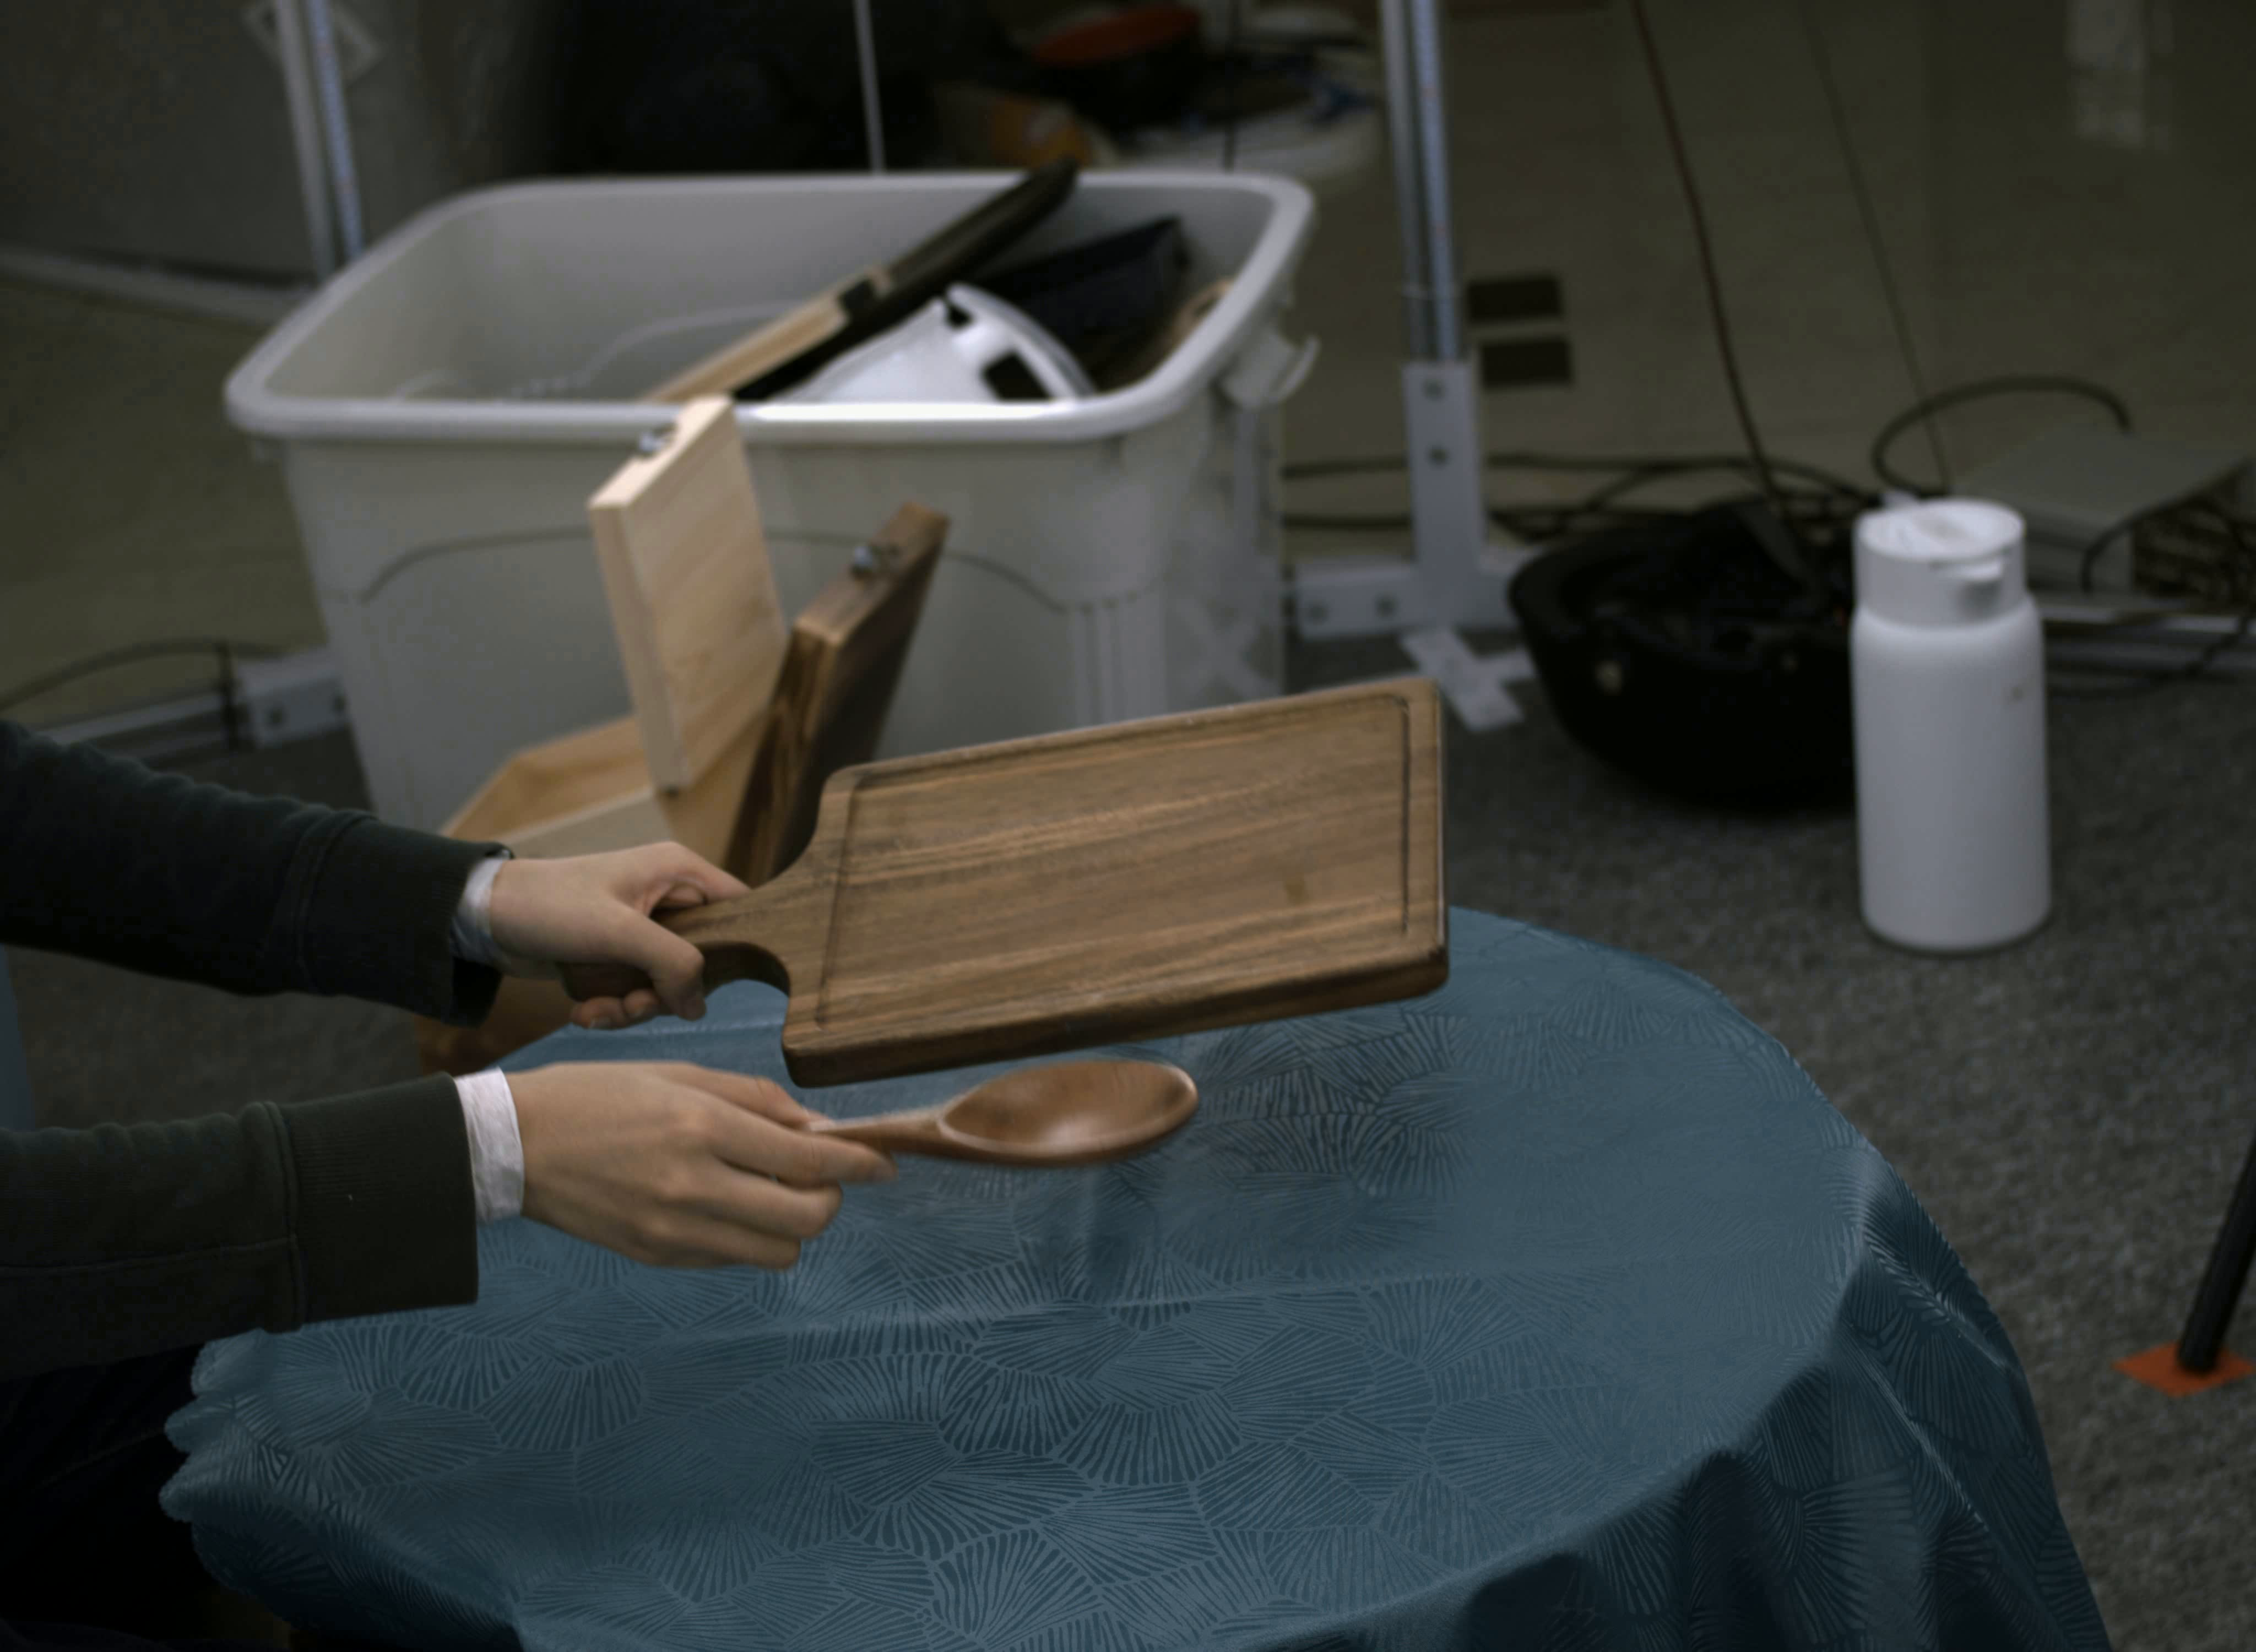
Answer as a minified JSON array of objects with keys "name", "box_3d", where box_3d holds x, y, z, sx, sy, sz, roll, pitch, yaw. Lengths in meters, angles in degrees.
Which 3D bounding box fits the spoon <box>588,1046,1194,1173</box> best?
[{"name":"spoon","box_3d":[-0.083,0.105,1.993,0.215,0.017,0.074,-5,24,4]}]

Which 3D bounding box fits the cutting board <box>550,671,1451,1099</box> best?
[{"name":"cutting board","box_3d":[-0.051,0.028,2.172,0.352,0.023,0.197,-9,35,9]}]
